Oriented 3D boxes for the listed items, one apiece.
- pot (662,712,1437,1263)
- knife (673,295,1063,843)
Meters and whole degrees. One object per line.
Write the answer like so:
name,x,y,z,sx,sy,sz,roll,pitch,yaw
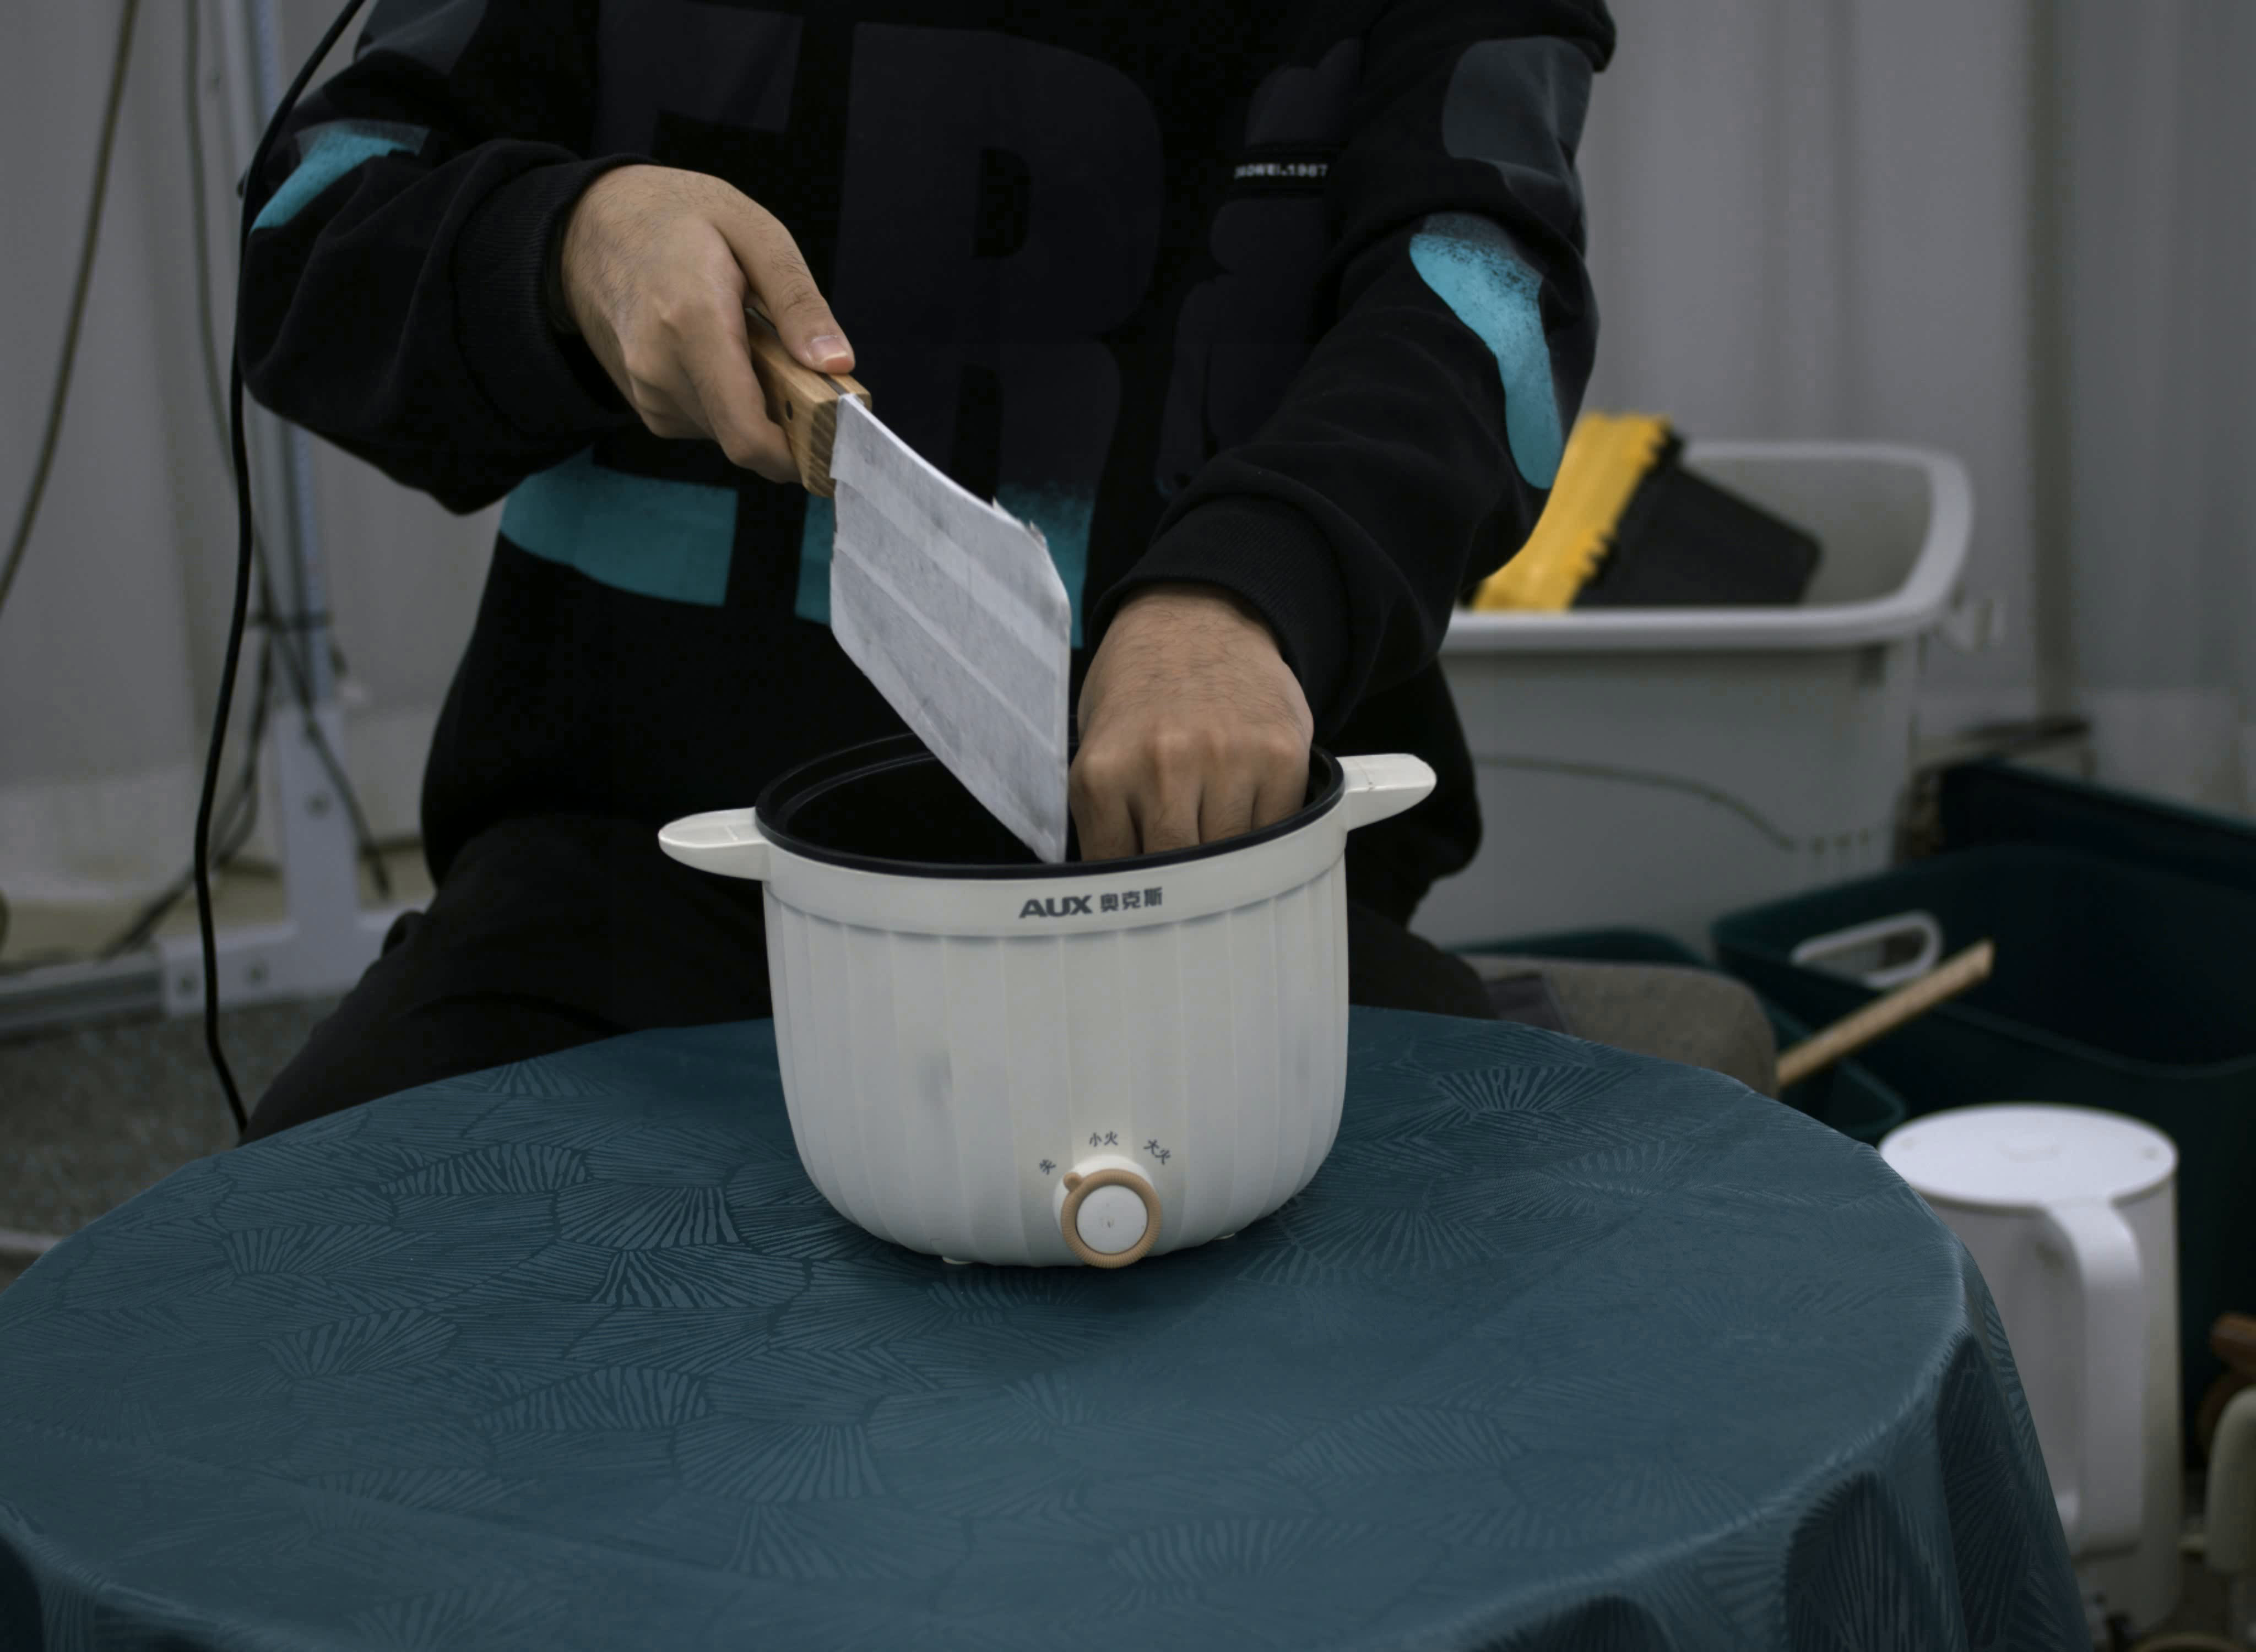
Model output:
pot,-0.018,0.053,1.683,0.239,0.142,0.191,-6,12,-7
knife,-0.081,-0.098,1.715,0.021,0.113,0.319,-7,29,-23
